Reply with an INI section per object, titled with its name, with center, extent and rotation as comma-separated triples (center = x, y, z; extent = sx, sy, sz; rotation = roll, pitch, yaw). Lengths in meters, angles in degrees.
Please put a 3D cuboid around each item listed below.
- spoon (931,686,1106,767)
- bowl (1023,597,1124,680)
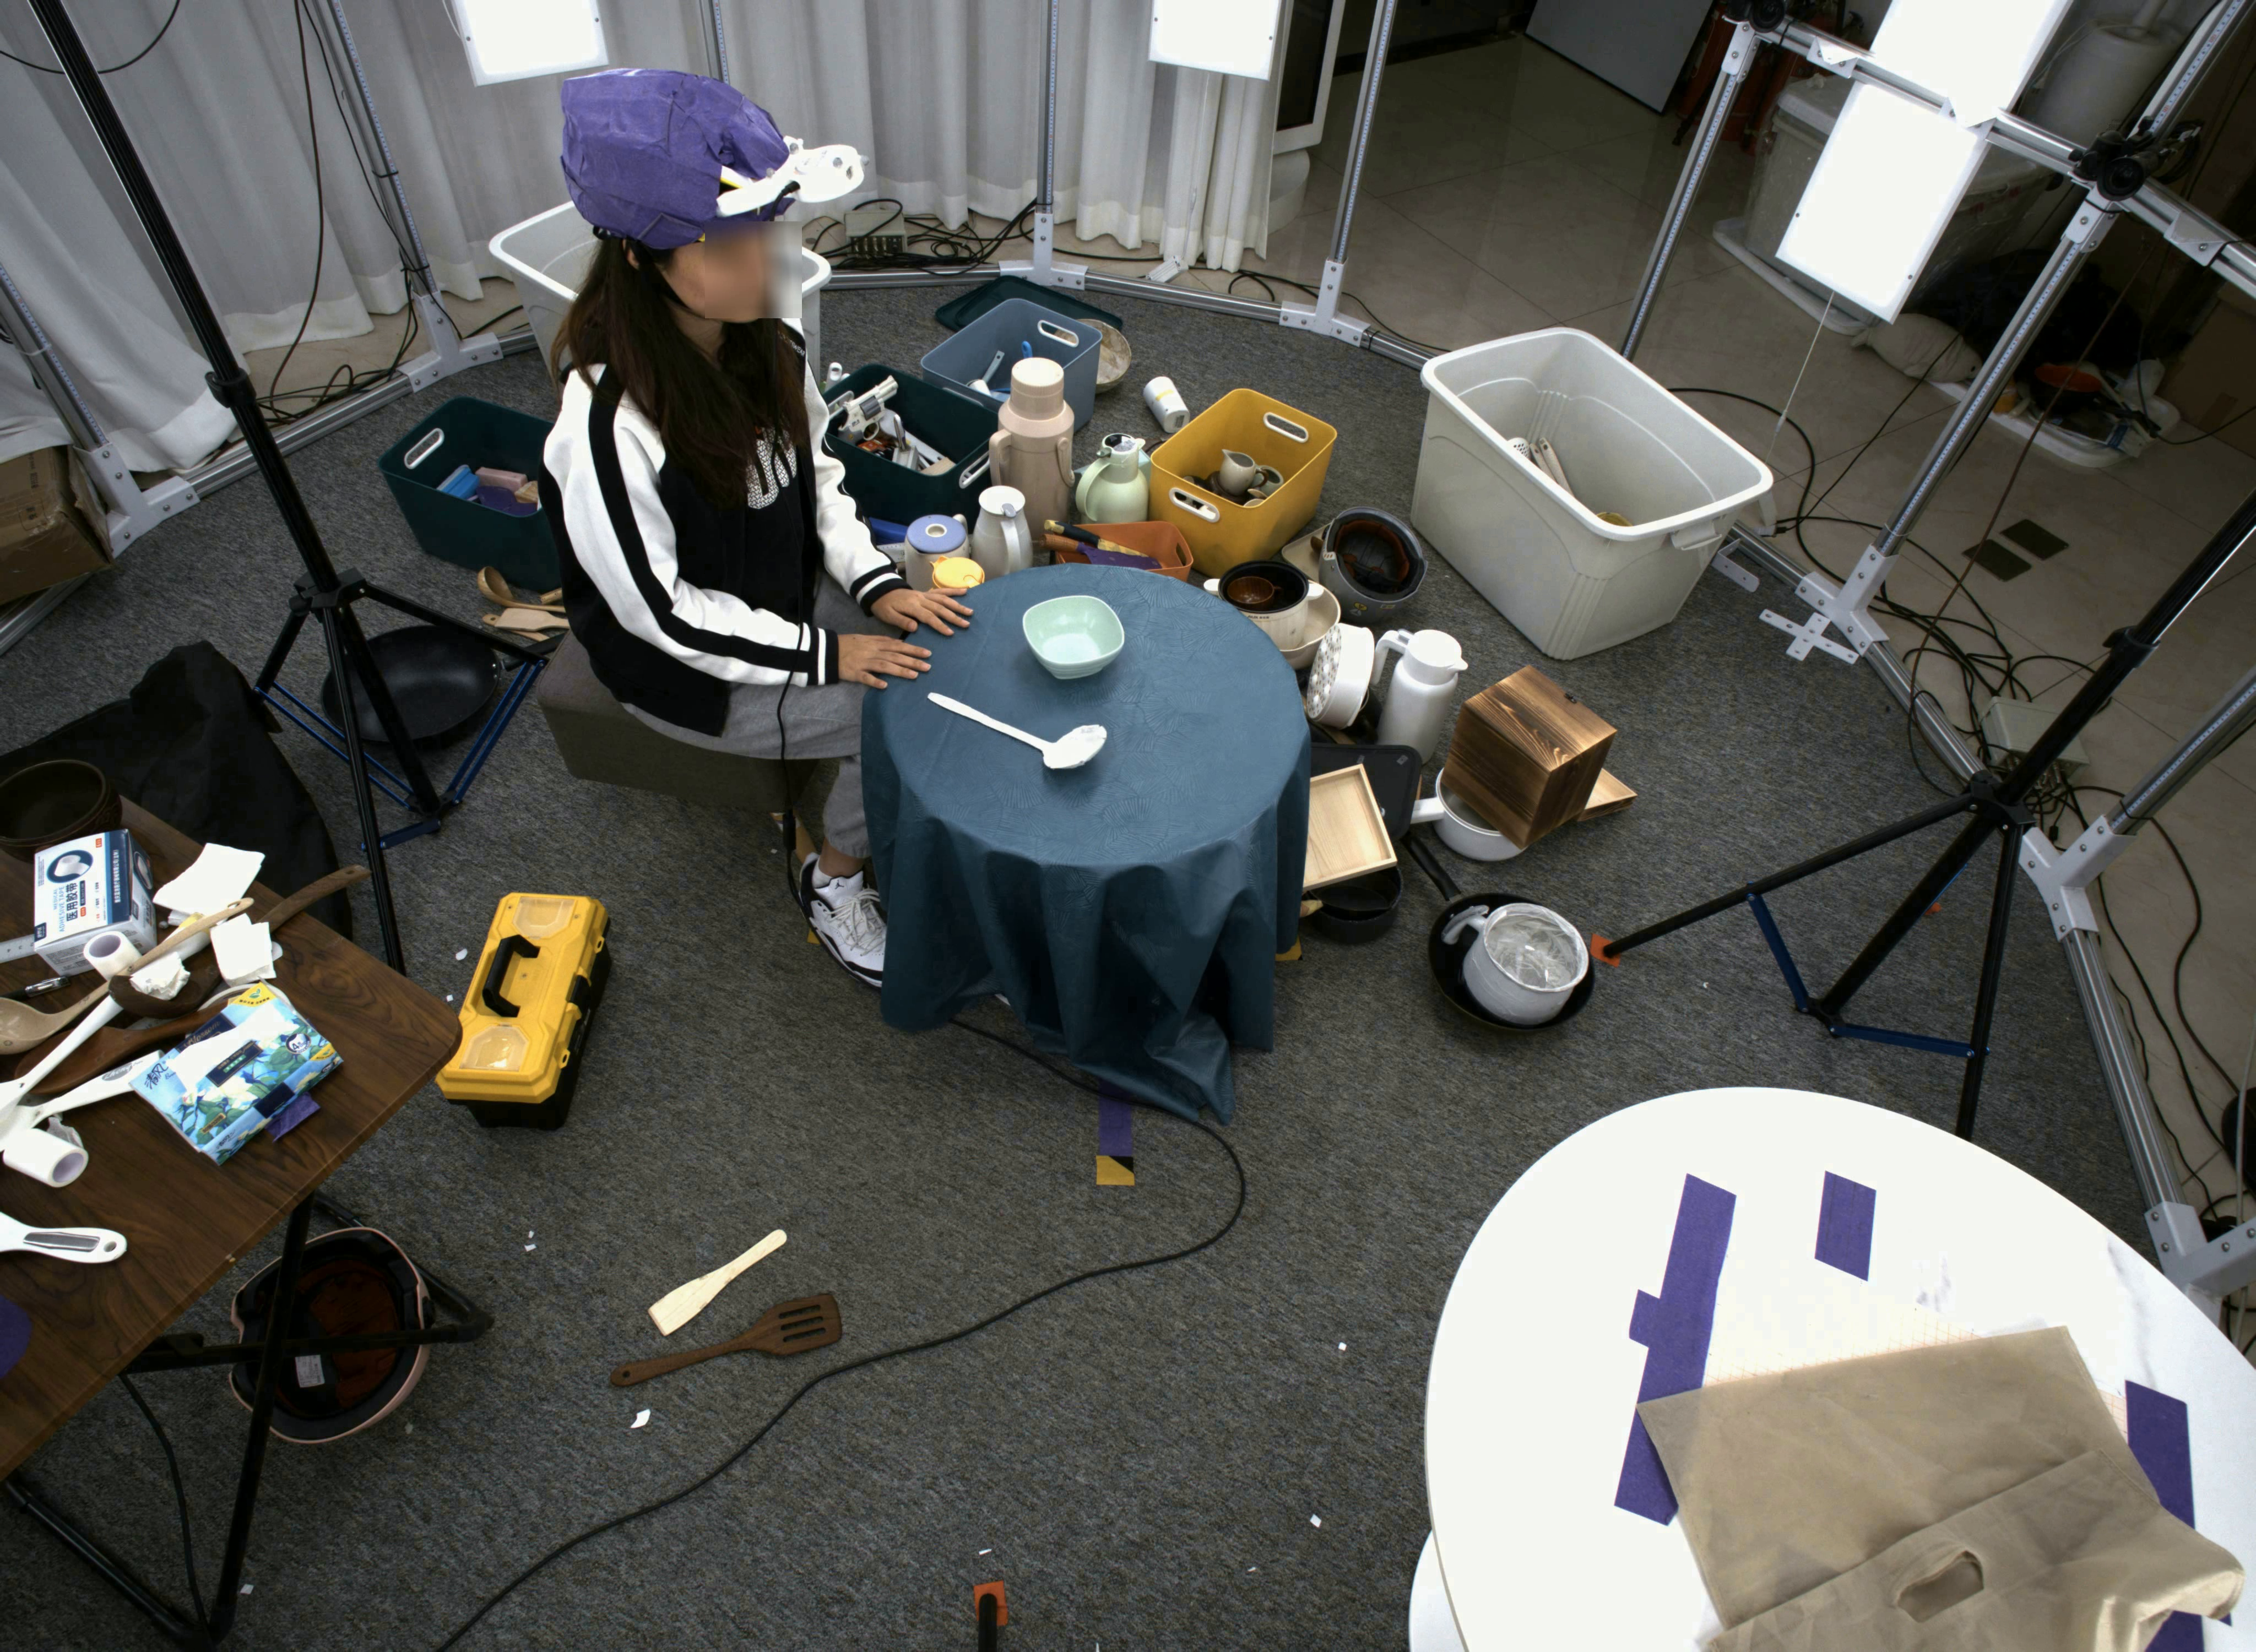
[spoon]
center = -0.154, -0.153, 1.755
extent = 0.280, 0.058, 0.102
rotation = 28, 48, 19
[bowl]
center = -0.080, -0.263, 1.858
extent = 0.151, 0.057, 0.155
rotation = 2, 49, -3
